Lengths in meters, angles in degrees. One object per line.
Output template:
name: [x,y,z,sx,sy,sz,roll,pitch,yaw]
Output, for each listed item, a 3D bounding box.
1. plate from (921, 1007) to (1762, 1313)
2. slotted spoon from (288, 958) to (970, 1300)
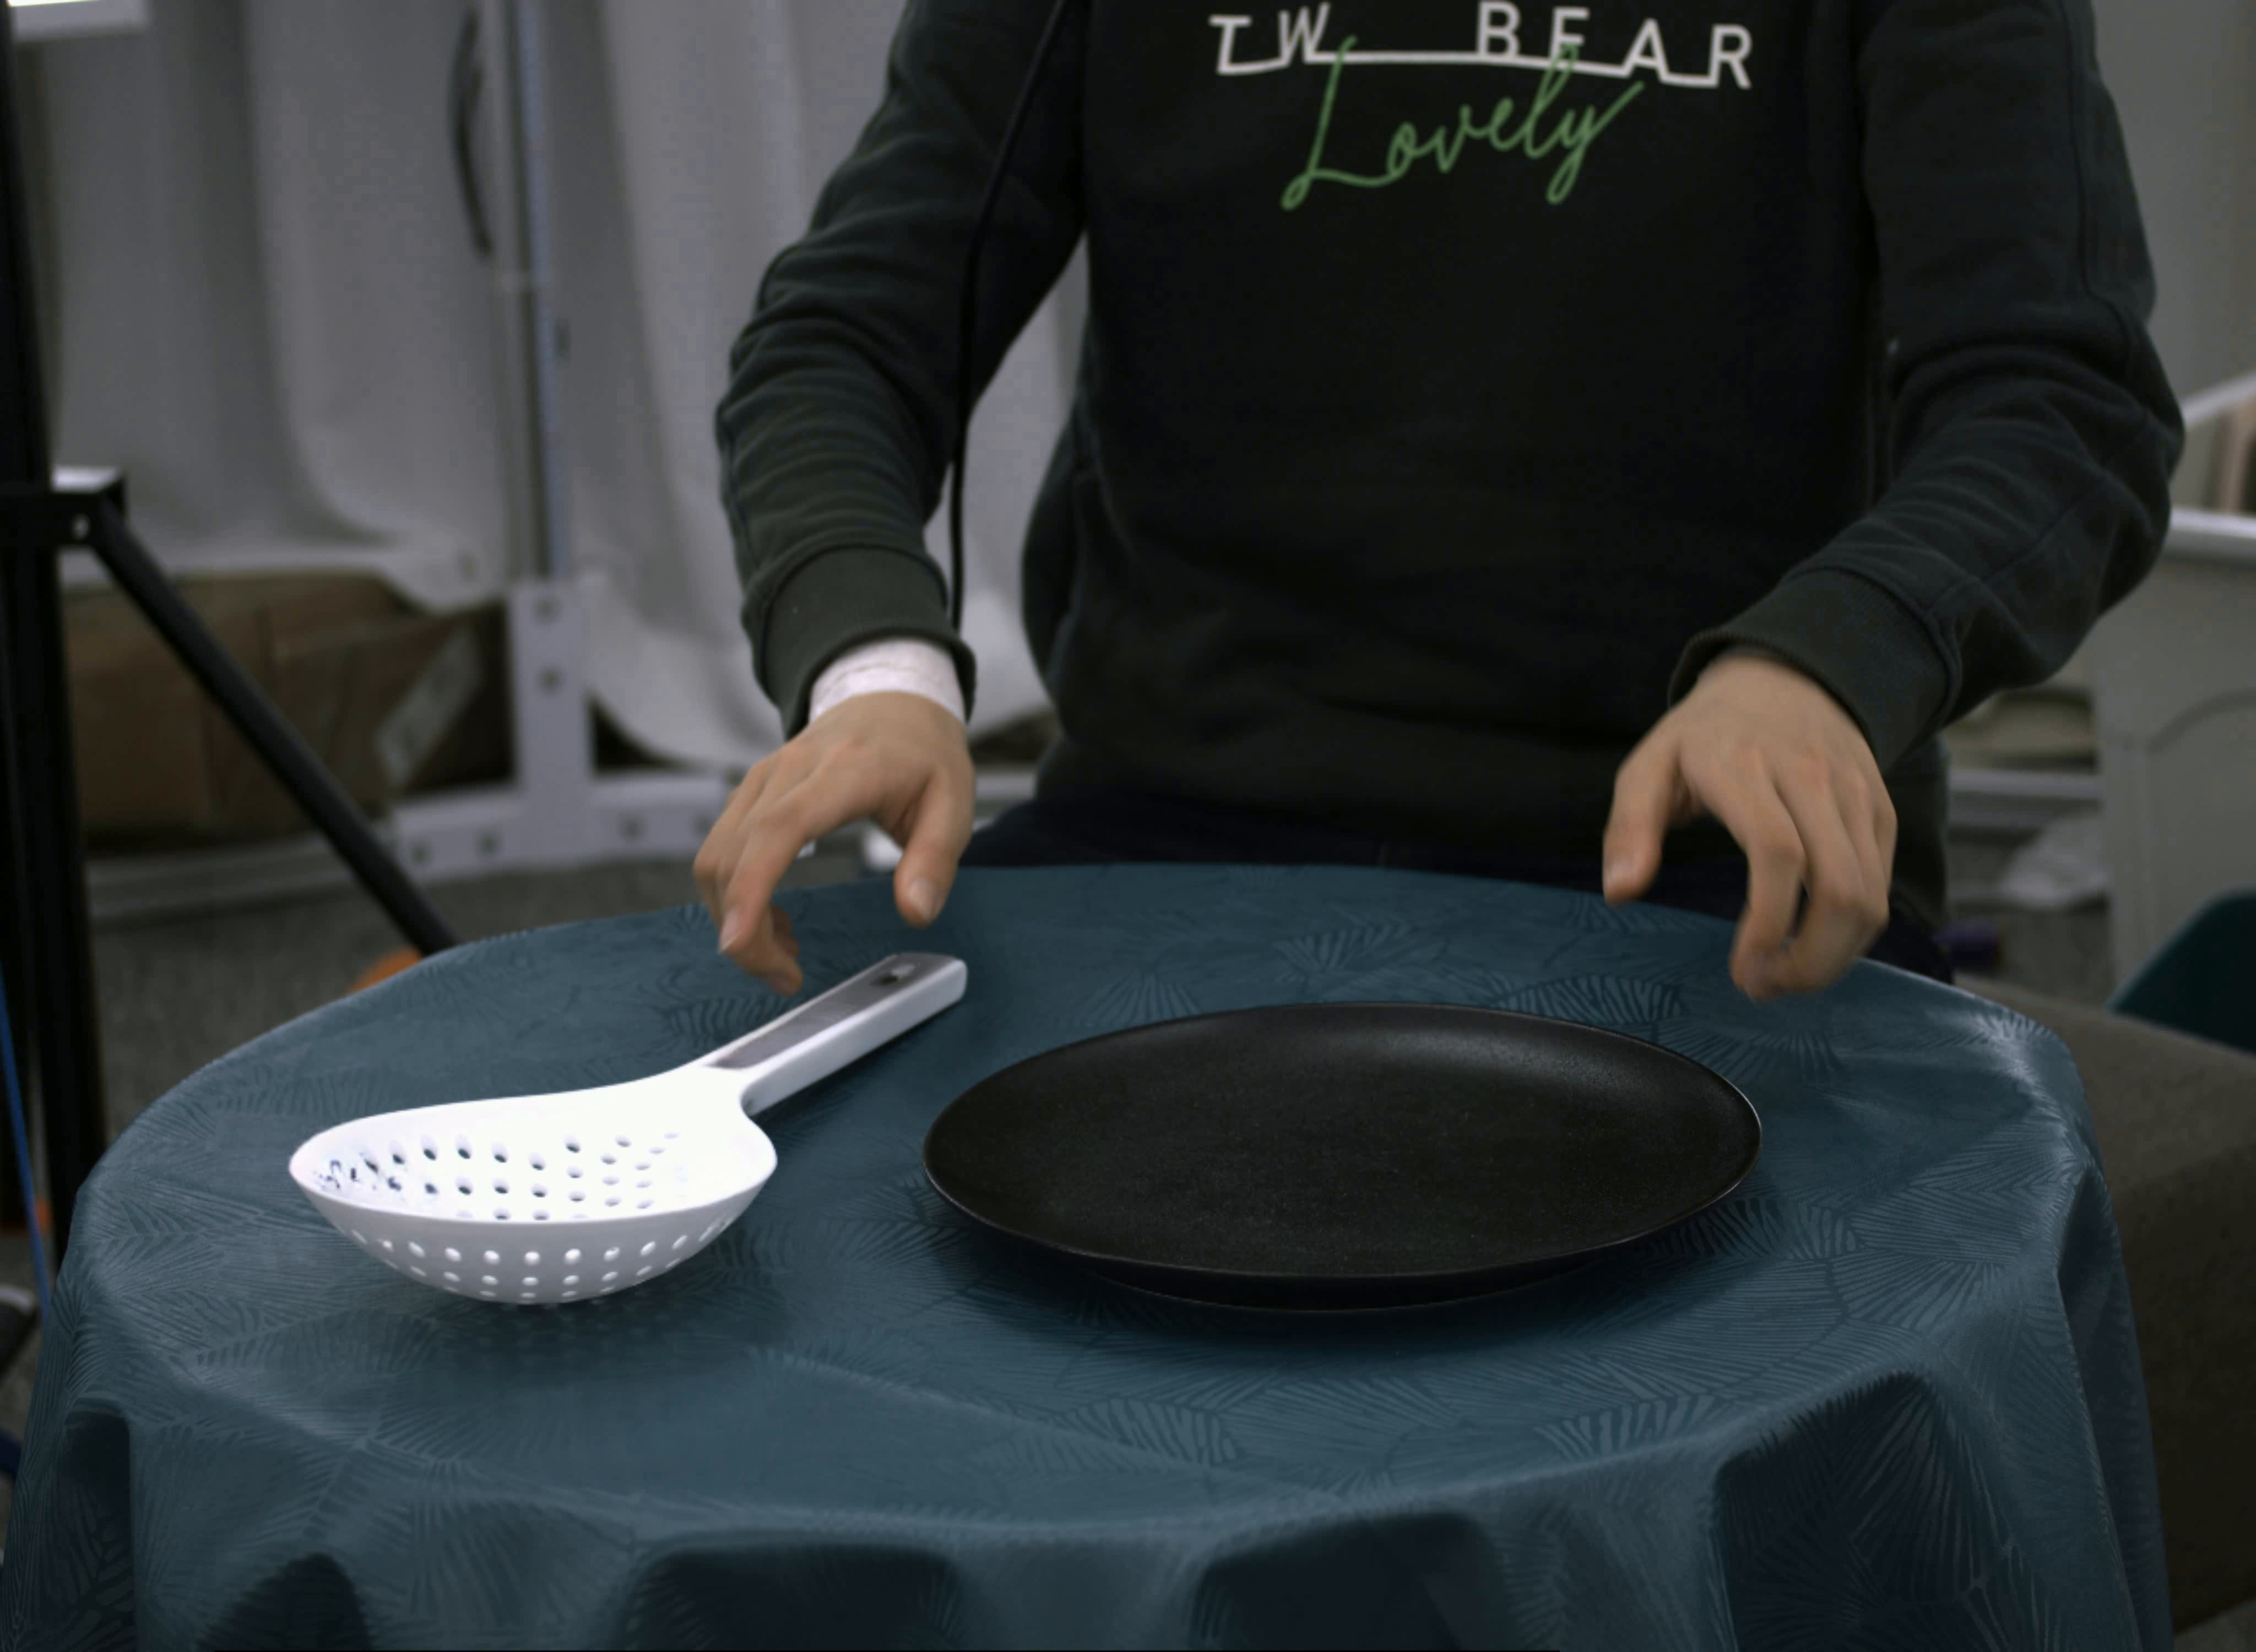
plate: [0.062,0.099,1.537,0.243,0.023,0.245,-3,16,-1]
slotted spoon: [-0.127,0.081,1.592,0.138,0.046,0.345,6,17,21]
